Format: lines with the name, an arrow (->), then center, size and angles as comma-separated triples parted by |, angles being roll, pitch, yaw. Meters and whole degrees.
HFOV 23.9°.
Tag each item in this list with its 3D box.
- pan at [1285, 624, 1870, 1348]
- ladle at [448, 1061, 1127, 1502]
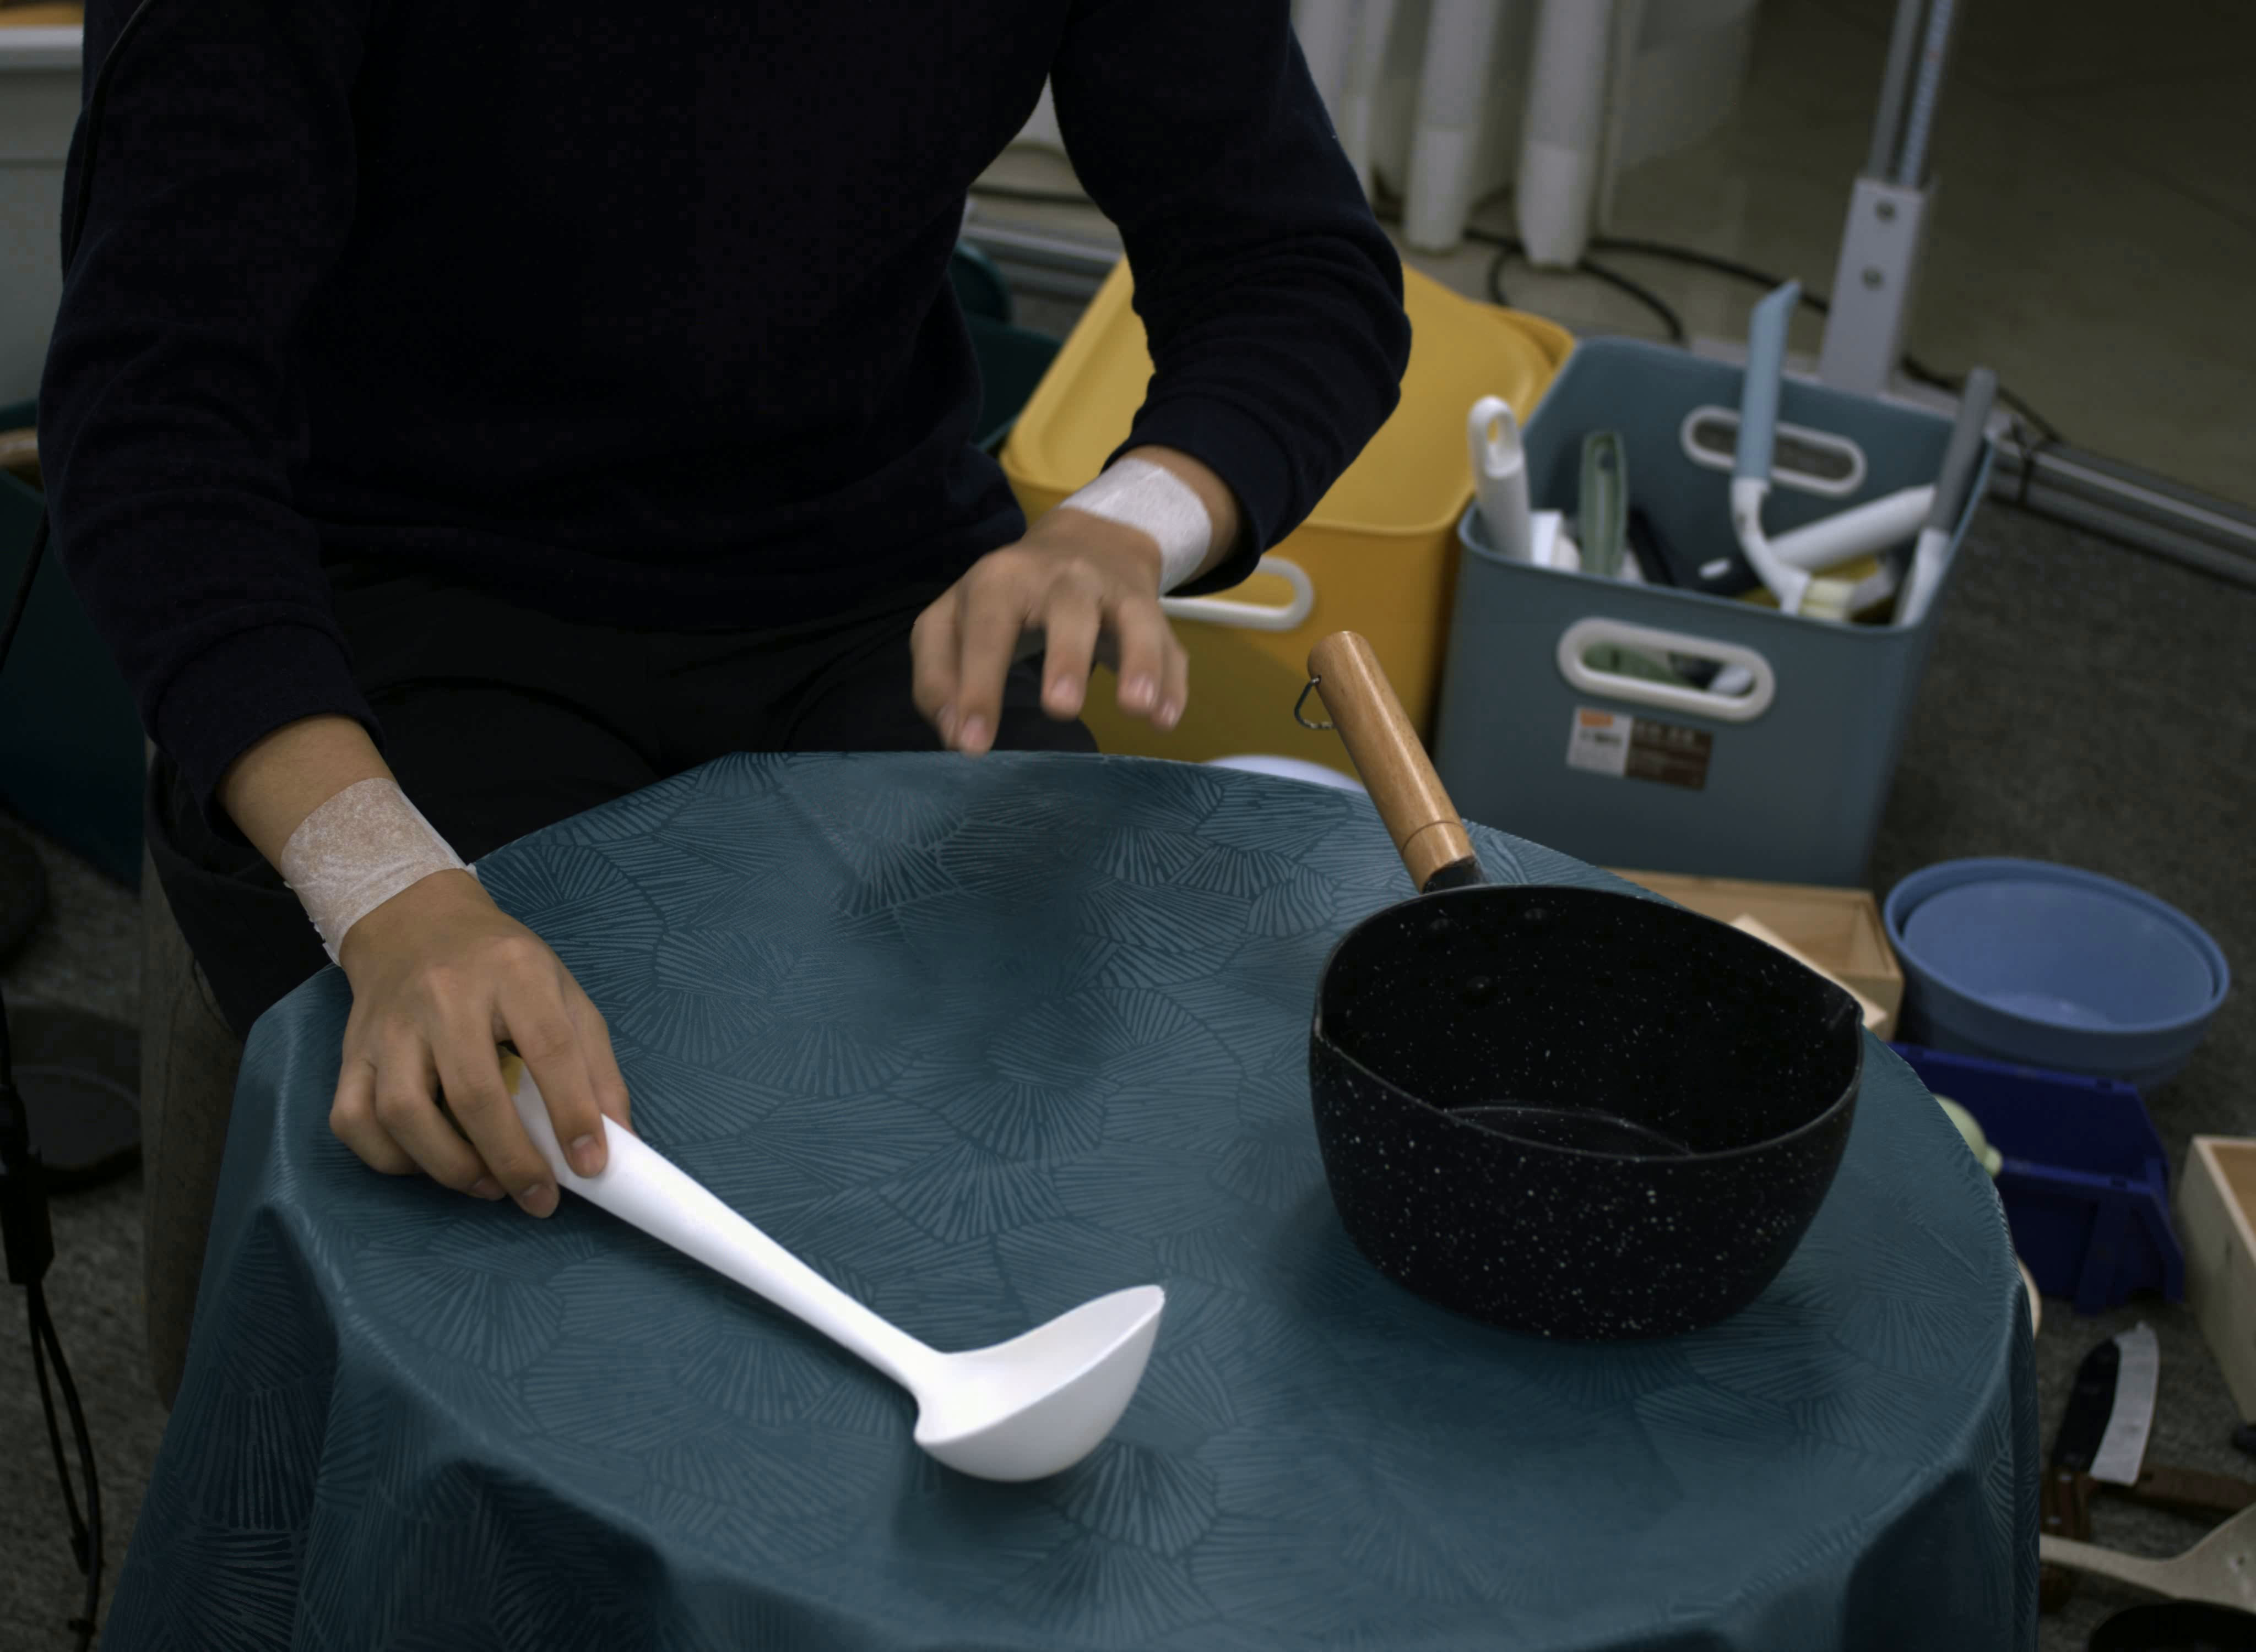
pan -> 0.125, 0.052, 1.851 | 0.206, 0.108, 0.346 | -5, 30, -20
ladle -> -0.117, 0.134, 1.692 | 0.295, 0.069, 0.090 | 28, 56, 37
